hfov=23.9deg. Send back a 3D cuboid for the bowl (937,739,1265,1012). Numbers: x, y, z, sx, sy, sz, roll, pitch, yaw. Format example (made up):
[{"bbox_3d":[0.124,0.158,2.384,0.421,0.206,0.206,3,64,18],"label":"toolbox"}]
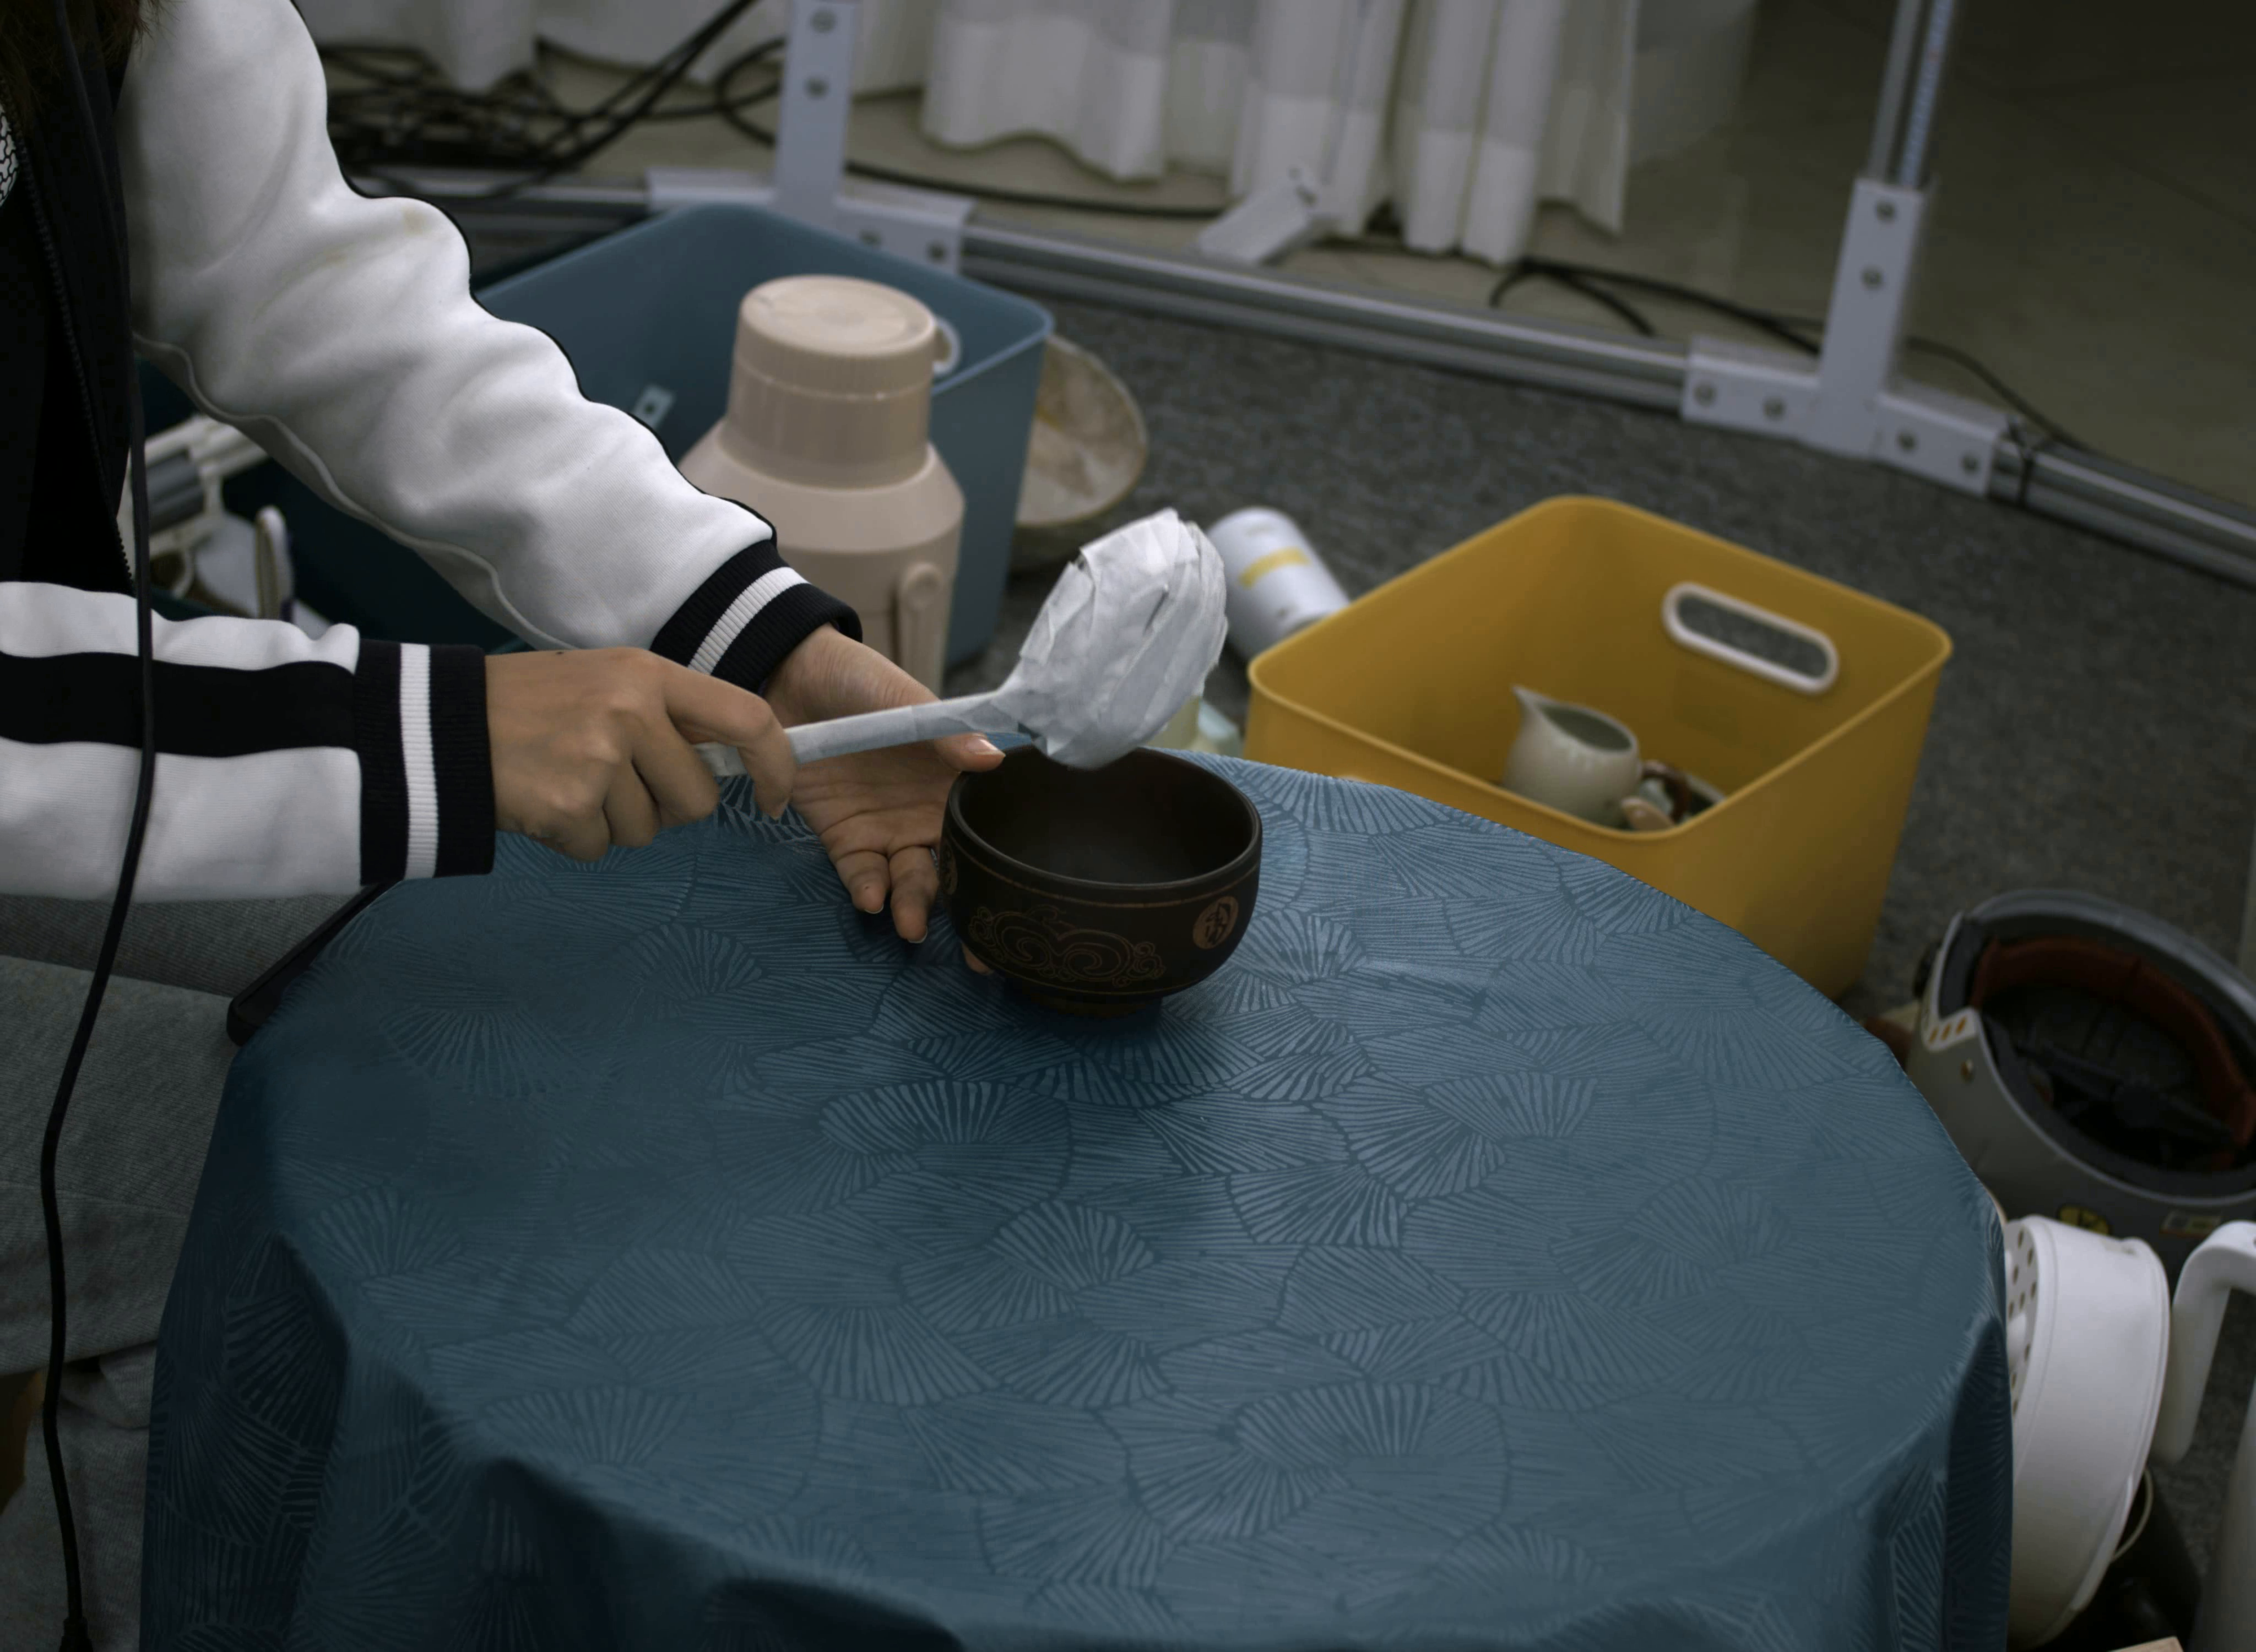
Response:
[{"bbox_3d":[-0.012,0.023,1.916,0.117,0.069,0.119,5,26,-3],"label":"bowl"}]

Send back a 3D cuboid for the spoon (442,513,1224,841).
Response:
[{"bbox_3d":[-0.099,-0.039,1.825,0.277,0.100,0.060,-12,35,2],"label":"spoon"}]
